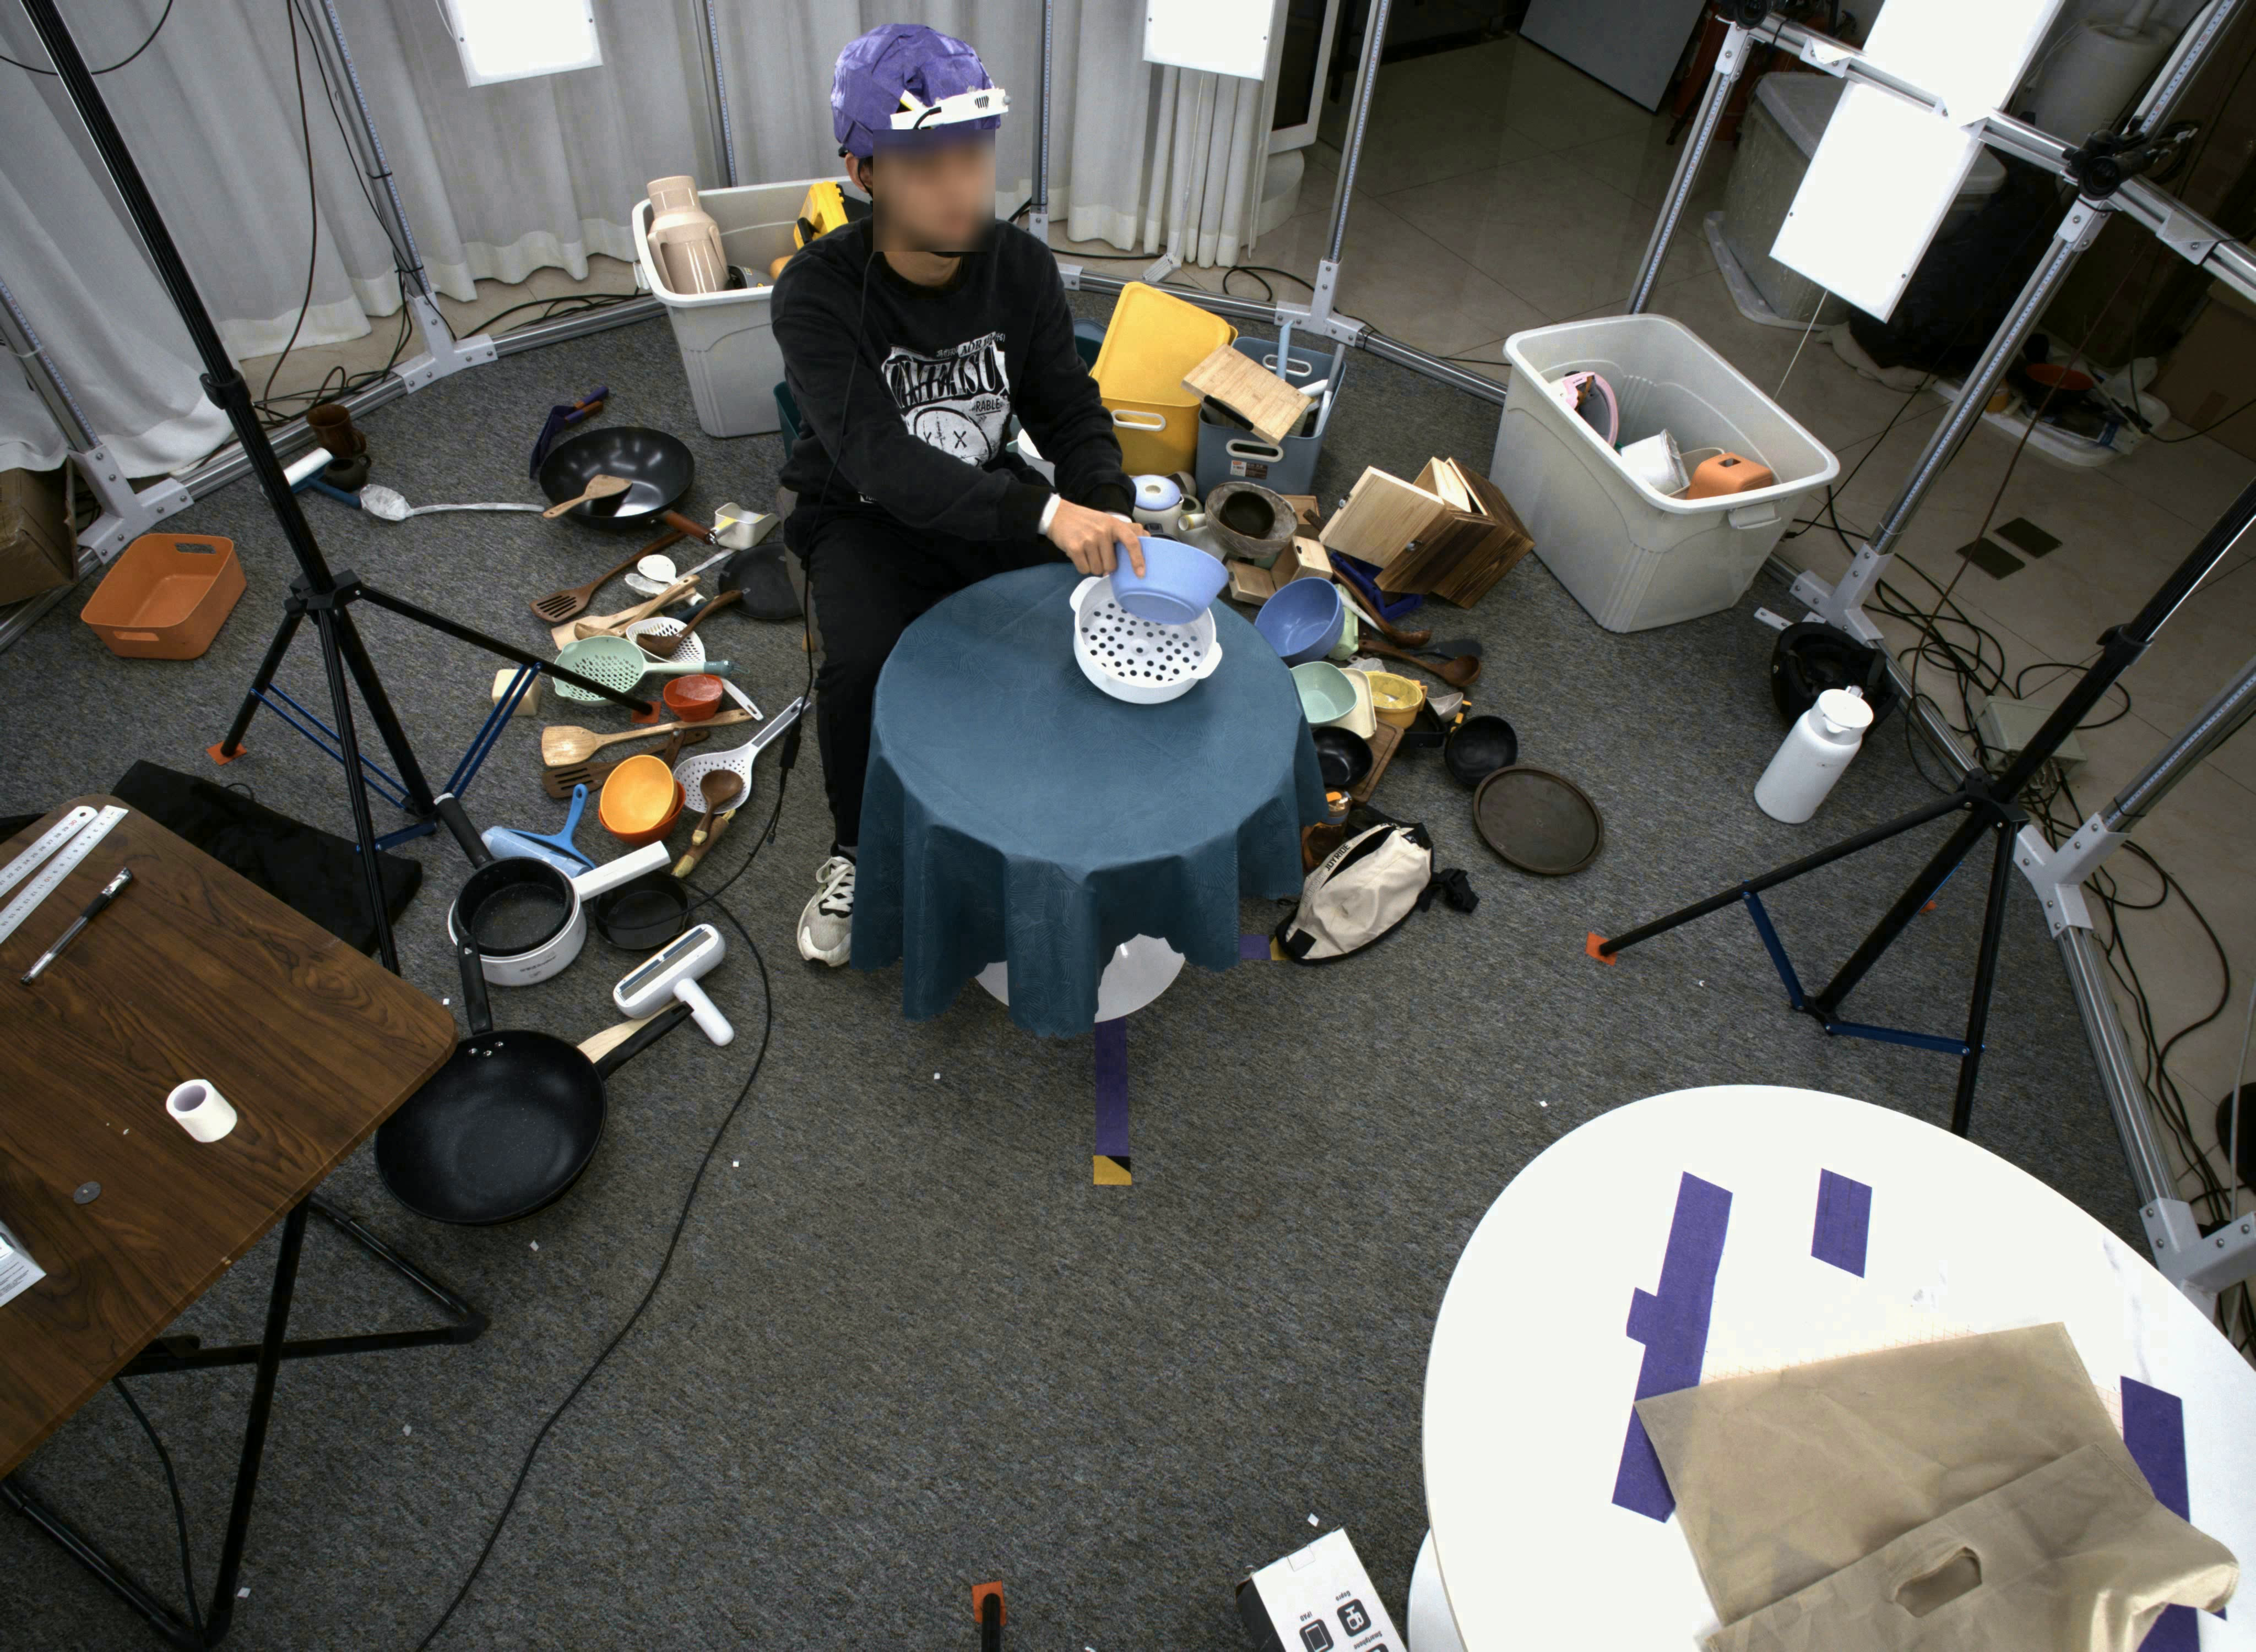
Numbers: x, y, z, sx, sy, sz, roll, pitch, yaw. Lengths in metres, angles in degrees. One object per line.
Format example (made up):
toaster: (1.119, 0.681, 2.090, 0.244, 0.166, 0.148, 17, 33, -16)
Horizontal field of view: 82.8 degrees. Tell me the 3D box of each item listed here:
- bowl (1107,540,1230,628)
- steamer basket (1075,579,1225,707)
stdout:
bowl: (0.050, -0.328, 1.784, 0.176, 0.174, 0.071, 12, 79, 6)
steamer basket: (0.027, -0.266, 1.854, 0.231, 0.068, 0.205, 31, 61, 6)
